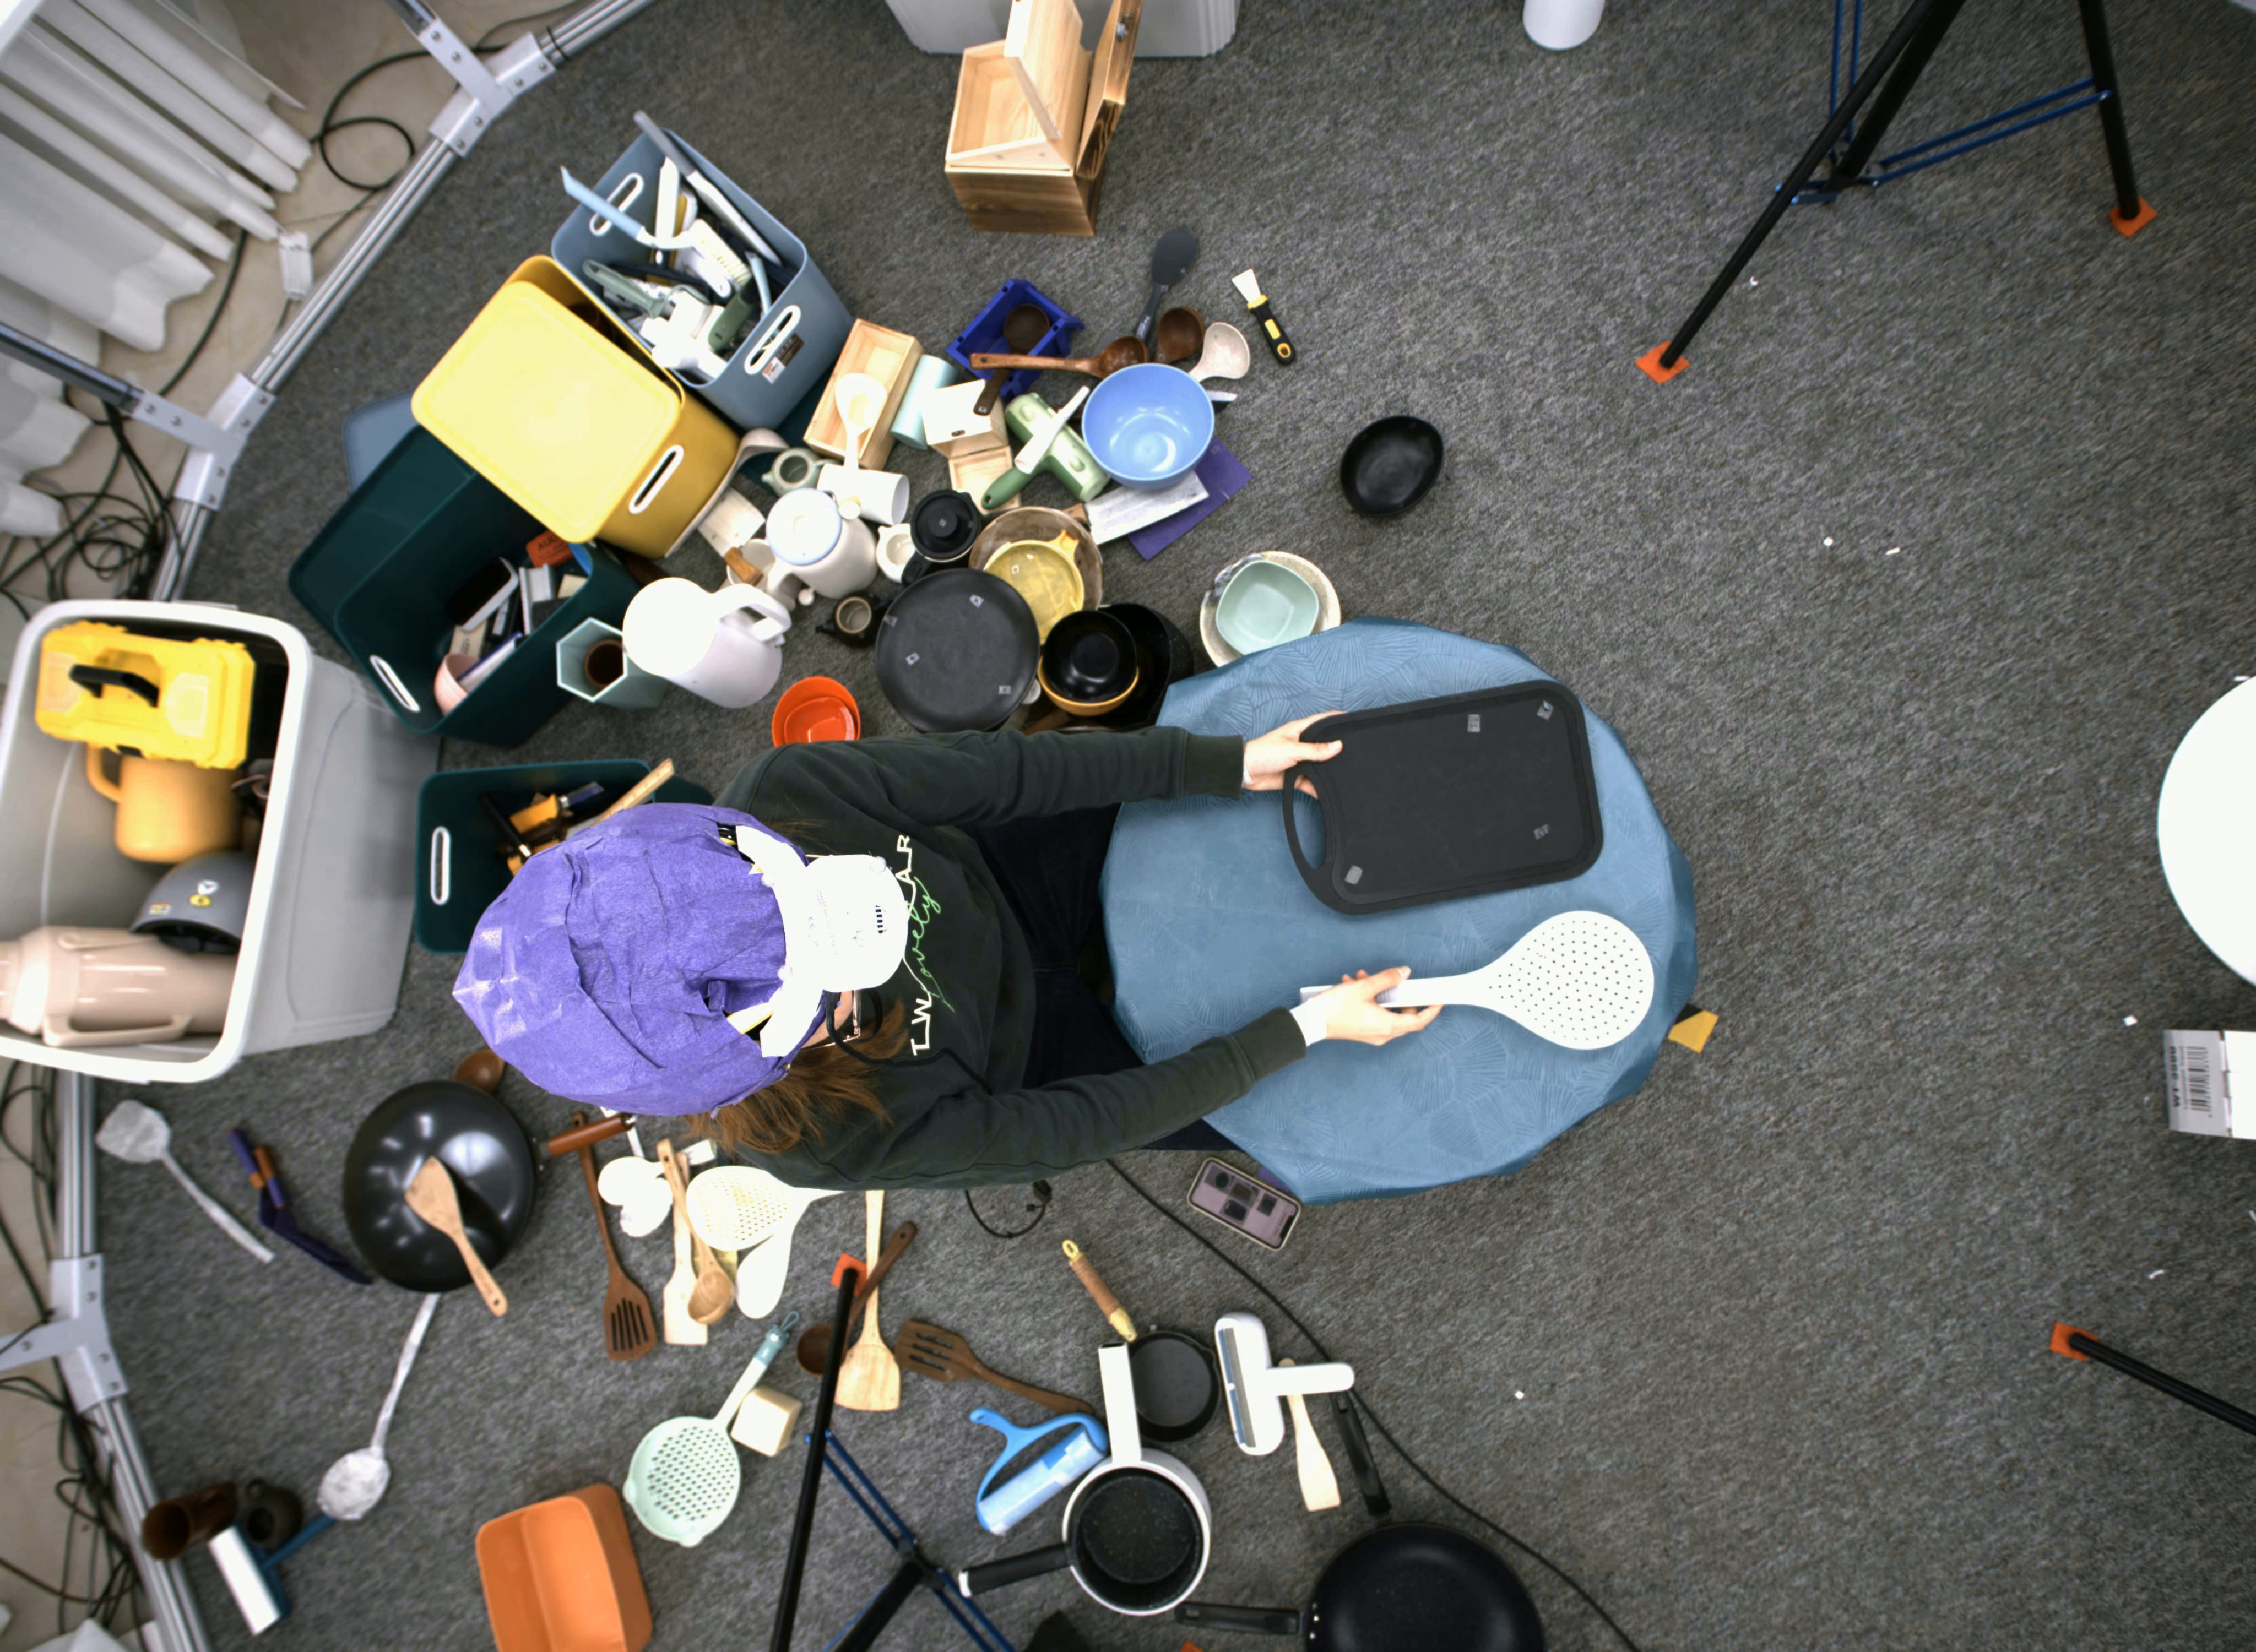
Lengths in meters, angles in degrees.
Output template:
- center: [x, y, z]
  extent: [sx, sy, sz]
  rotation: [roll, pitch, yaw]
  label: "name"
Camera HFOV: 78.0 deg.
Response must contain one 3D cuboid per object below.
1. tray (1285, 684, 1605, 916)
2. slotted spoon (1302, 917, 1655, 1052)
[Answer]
- center: [0.326, -0.027, 1.425]
  extent: [0.326, 0.010, 0.211]
  rotation: [-10, 93, 2]
  label: "tray"
- center: [0.353, 0.166, 1.403]
  extent: [0.351, 0.046, 0.135]
  rotation: [-4, 82, 4]
  label: "slotted spoon"
